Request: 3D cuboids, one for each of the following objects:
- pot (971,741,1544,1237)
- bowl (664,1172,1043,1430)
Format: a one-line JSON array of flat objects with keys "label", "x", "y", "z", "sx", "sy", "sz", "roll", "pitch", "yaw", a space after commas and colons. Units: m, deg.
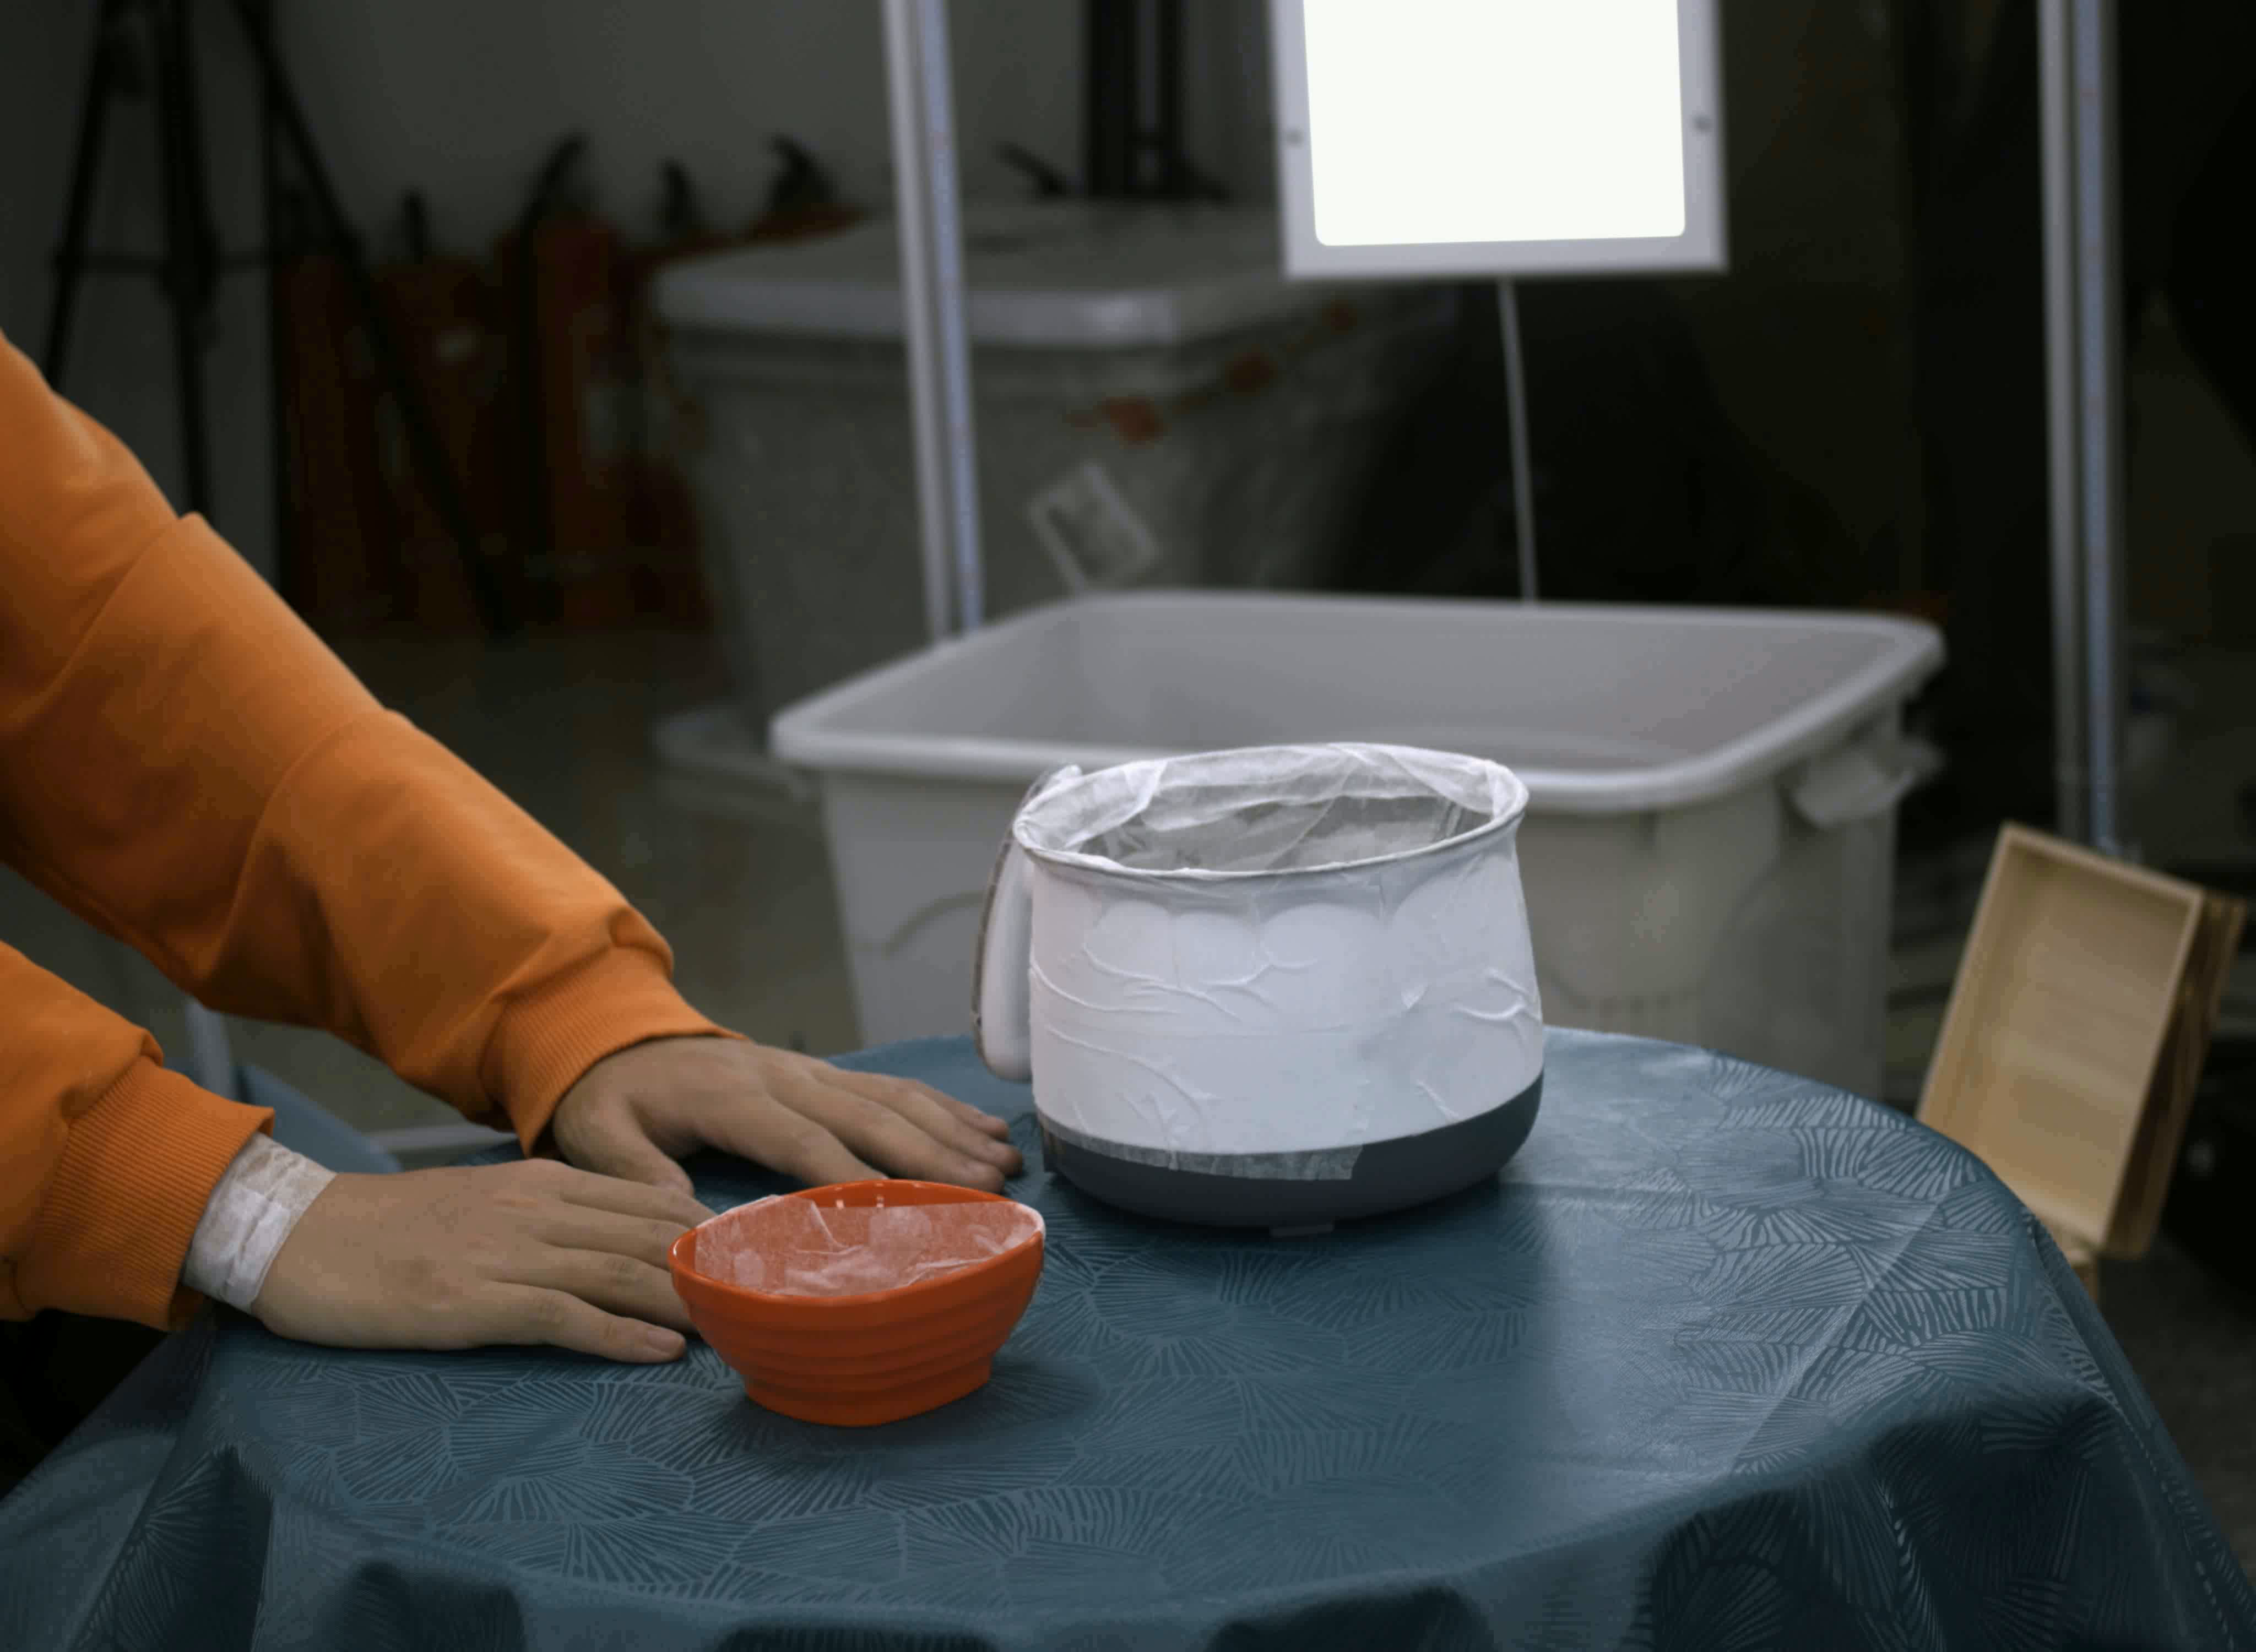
[{"label": "pot", "x": 0.033, "y": 0.051, "z": 1.904, "sx": 0.239, "sy": 0.137, "sz": 0.174, "roll": 9, "pitch": 19, "yaw": 43}, {"label": "bowl", "x": -0.084, "y": 0.150, "z": 1.721, "sx": 0.118, "sy": 0.051, "sz": 0.119, "roll": -5, "pitch": 16, "yaw": 0}]
